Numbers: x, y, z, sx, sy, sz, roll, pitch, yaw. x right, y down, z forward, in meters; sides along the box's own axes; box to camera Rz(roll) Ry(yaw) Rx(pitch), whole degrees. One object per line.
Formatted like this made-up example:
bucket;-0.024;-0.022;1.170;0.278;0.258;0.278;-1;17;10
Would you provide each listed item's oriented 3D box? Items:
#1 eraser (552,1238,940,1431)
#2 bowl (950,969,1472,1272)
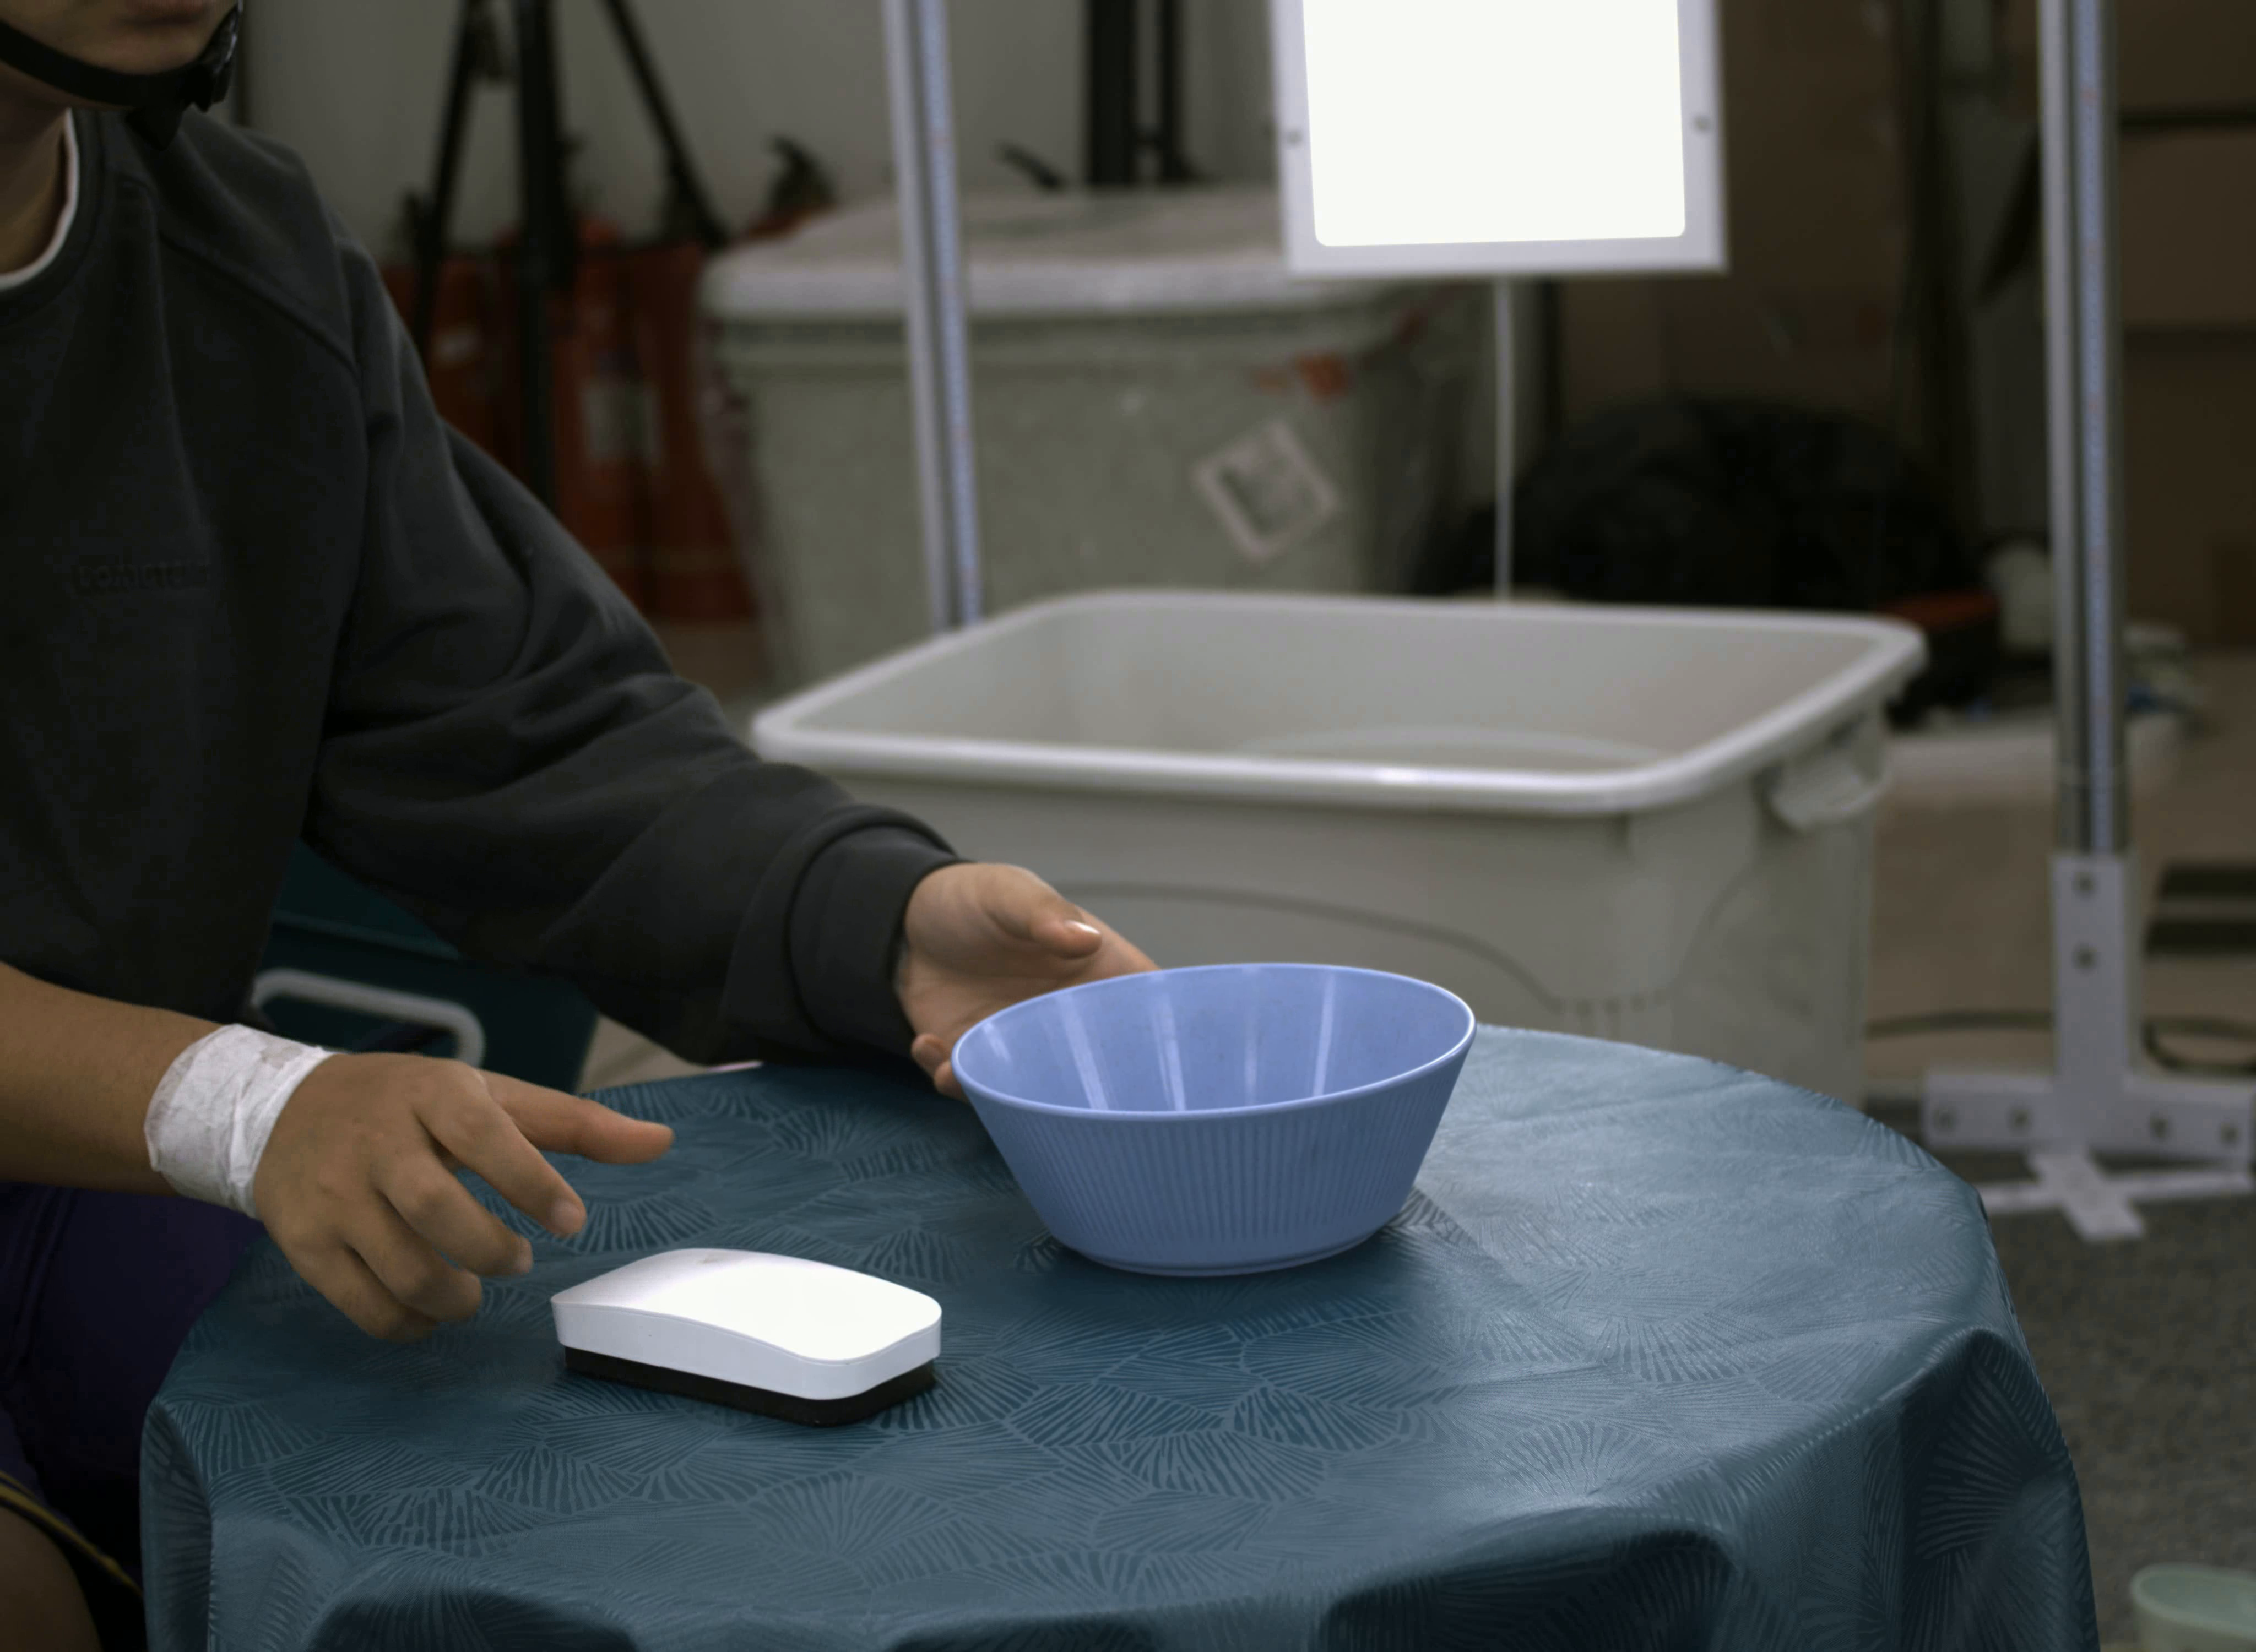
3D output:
eraser;-0.120;0.158;1.745;0.134;0.034;0.062;10;19;42
bowl;0.030;0.100;1.841;0.175;0.070;0.176;-4;13;0
